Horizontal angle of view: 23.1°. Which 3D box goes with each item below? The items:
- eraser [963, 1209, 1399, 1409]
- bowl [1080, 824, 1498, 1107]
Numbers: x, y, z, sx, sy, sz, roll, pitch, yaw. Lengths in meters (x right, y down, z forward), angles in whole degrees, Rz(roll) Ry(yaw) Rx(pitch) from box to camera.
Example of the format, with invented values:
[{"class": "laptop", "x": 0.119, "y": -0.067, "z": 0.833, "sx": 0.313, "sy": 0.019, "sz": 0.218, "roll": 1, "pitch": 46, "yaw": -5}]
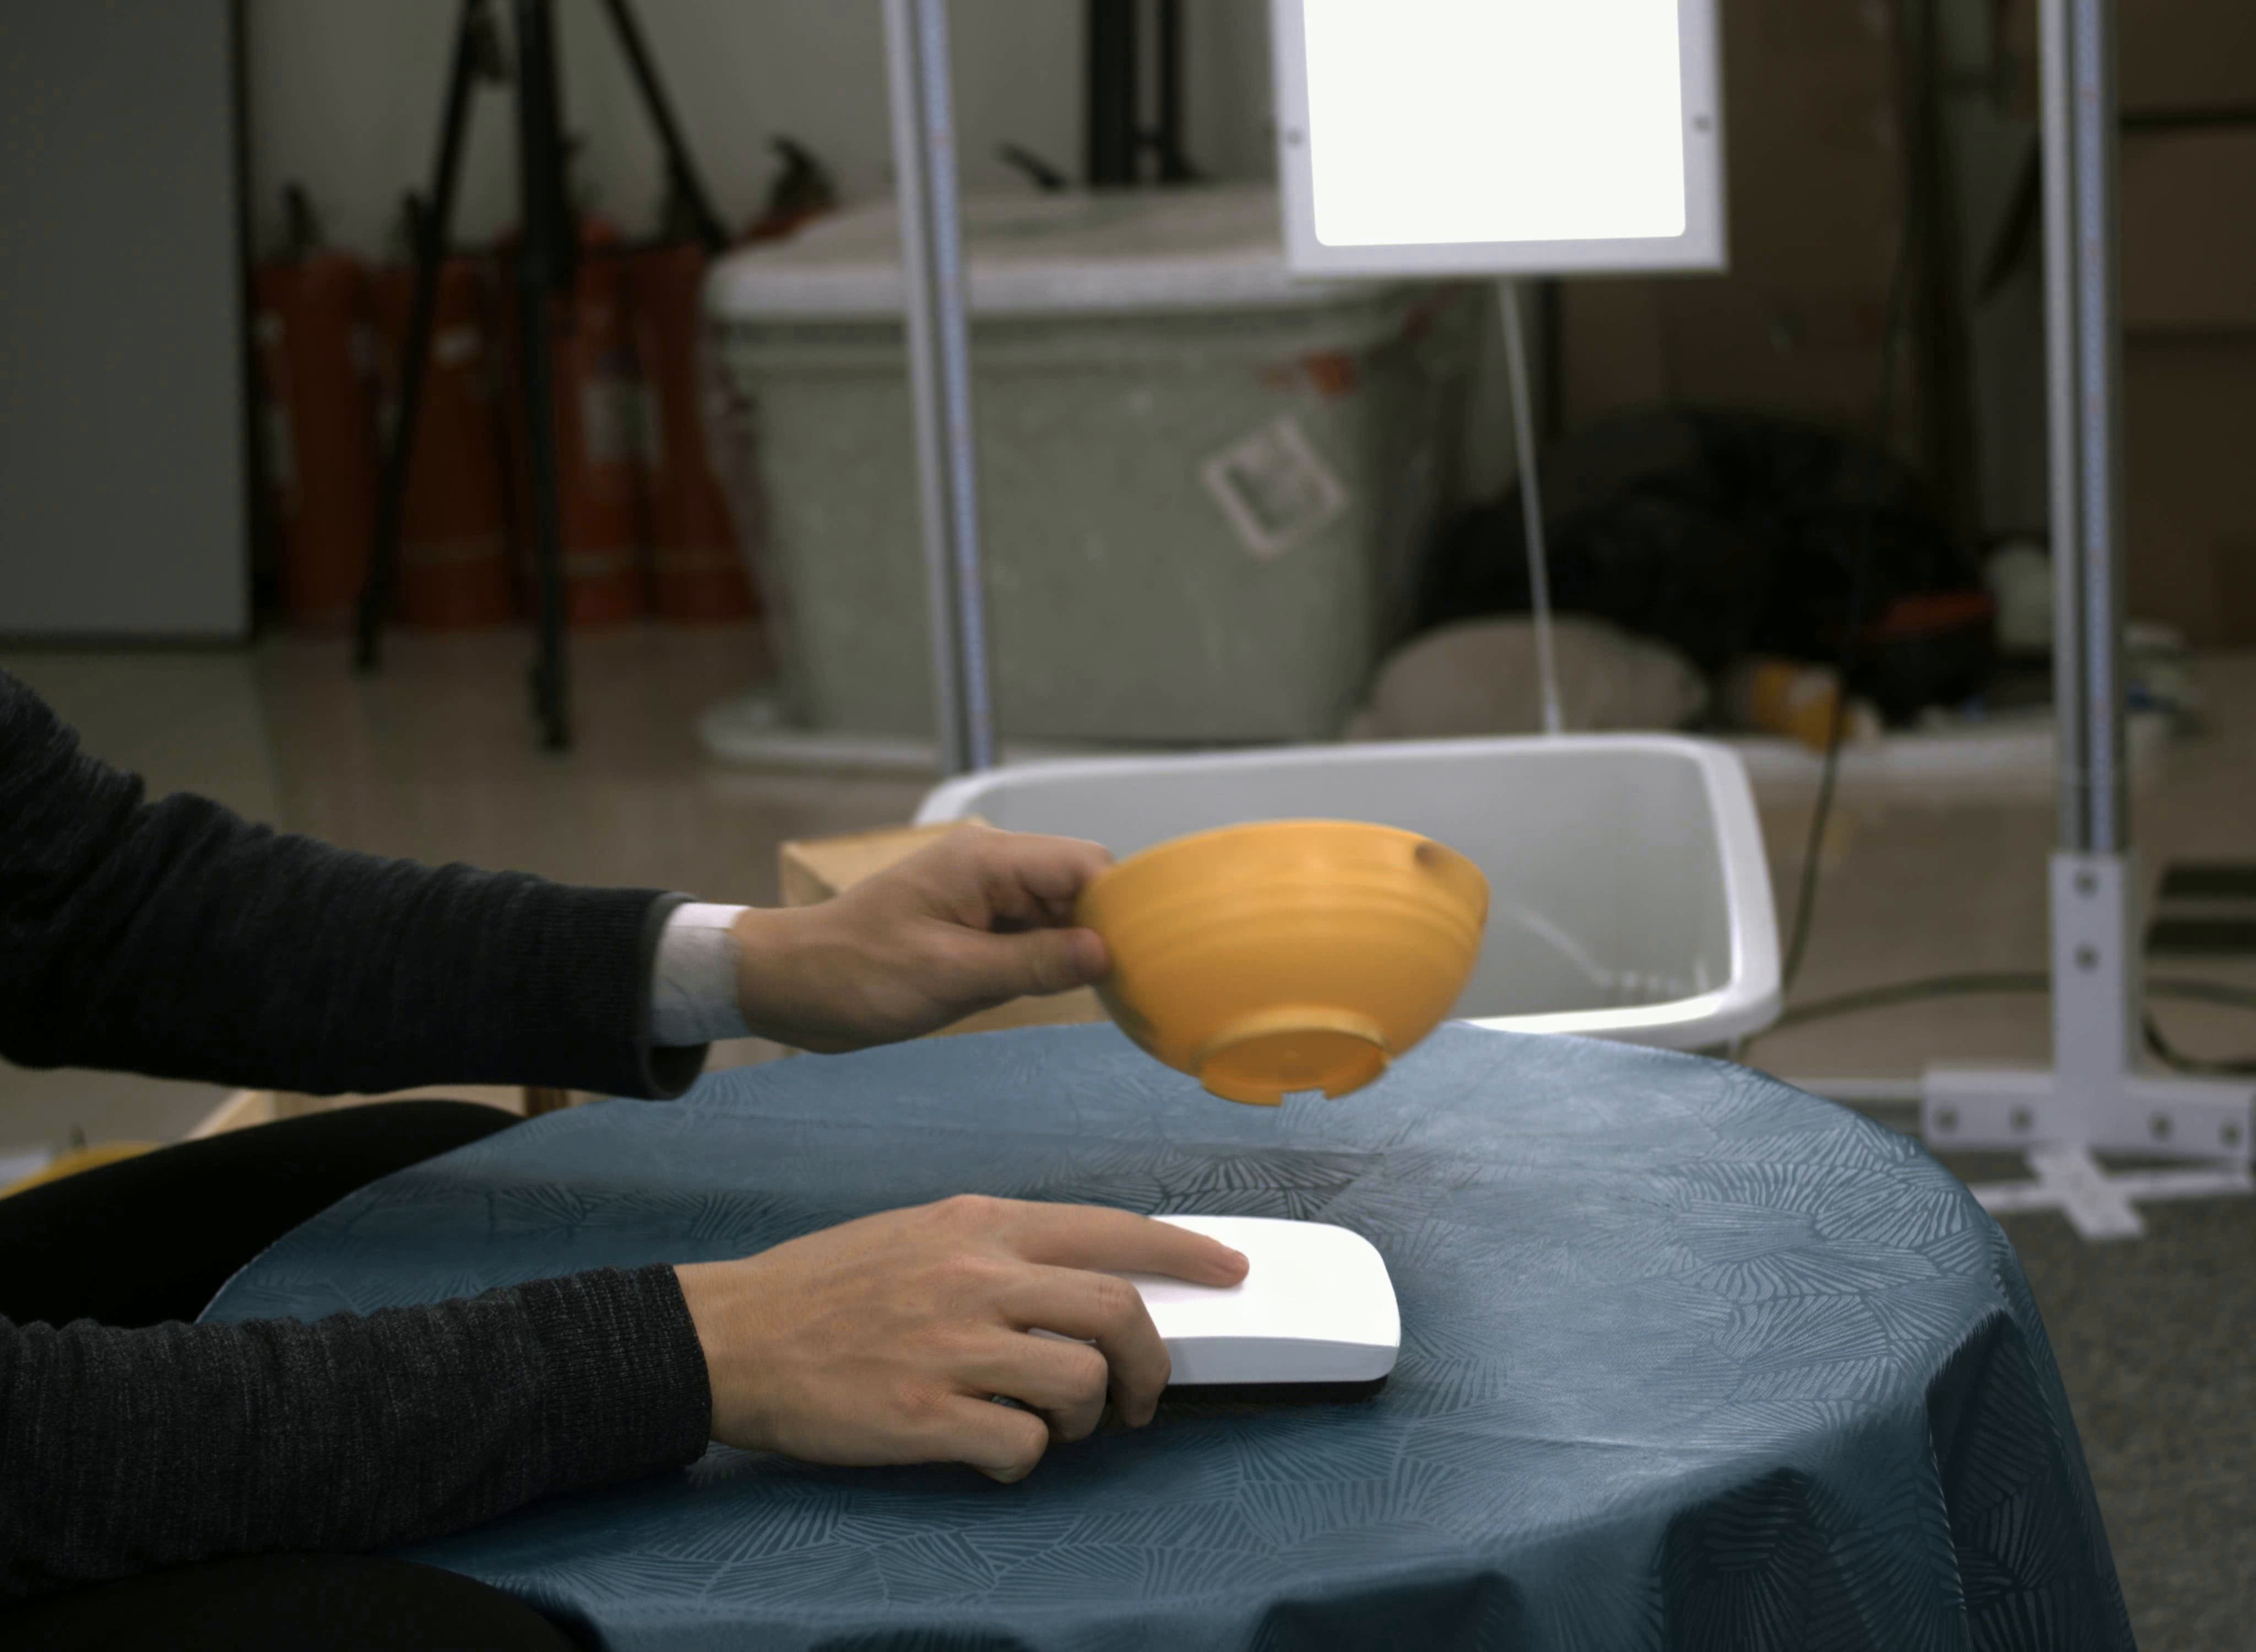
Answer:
[{"class": "eraser", "x": 0.015, "y": 0.149, "z": 1.680, "sx": 0.130, "sy": 0.035, "sz": 0.063, "roll": 1, "pitch": 30, "yaw": -9}, {"class": "bowl", "x": 0.056, "y": 0.056, "z": 1.859, "sx": 0.145, "sy": 0.060, "sz": 0.146, "roll": -1, "pitch": -25, "yaw": -2}]
